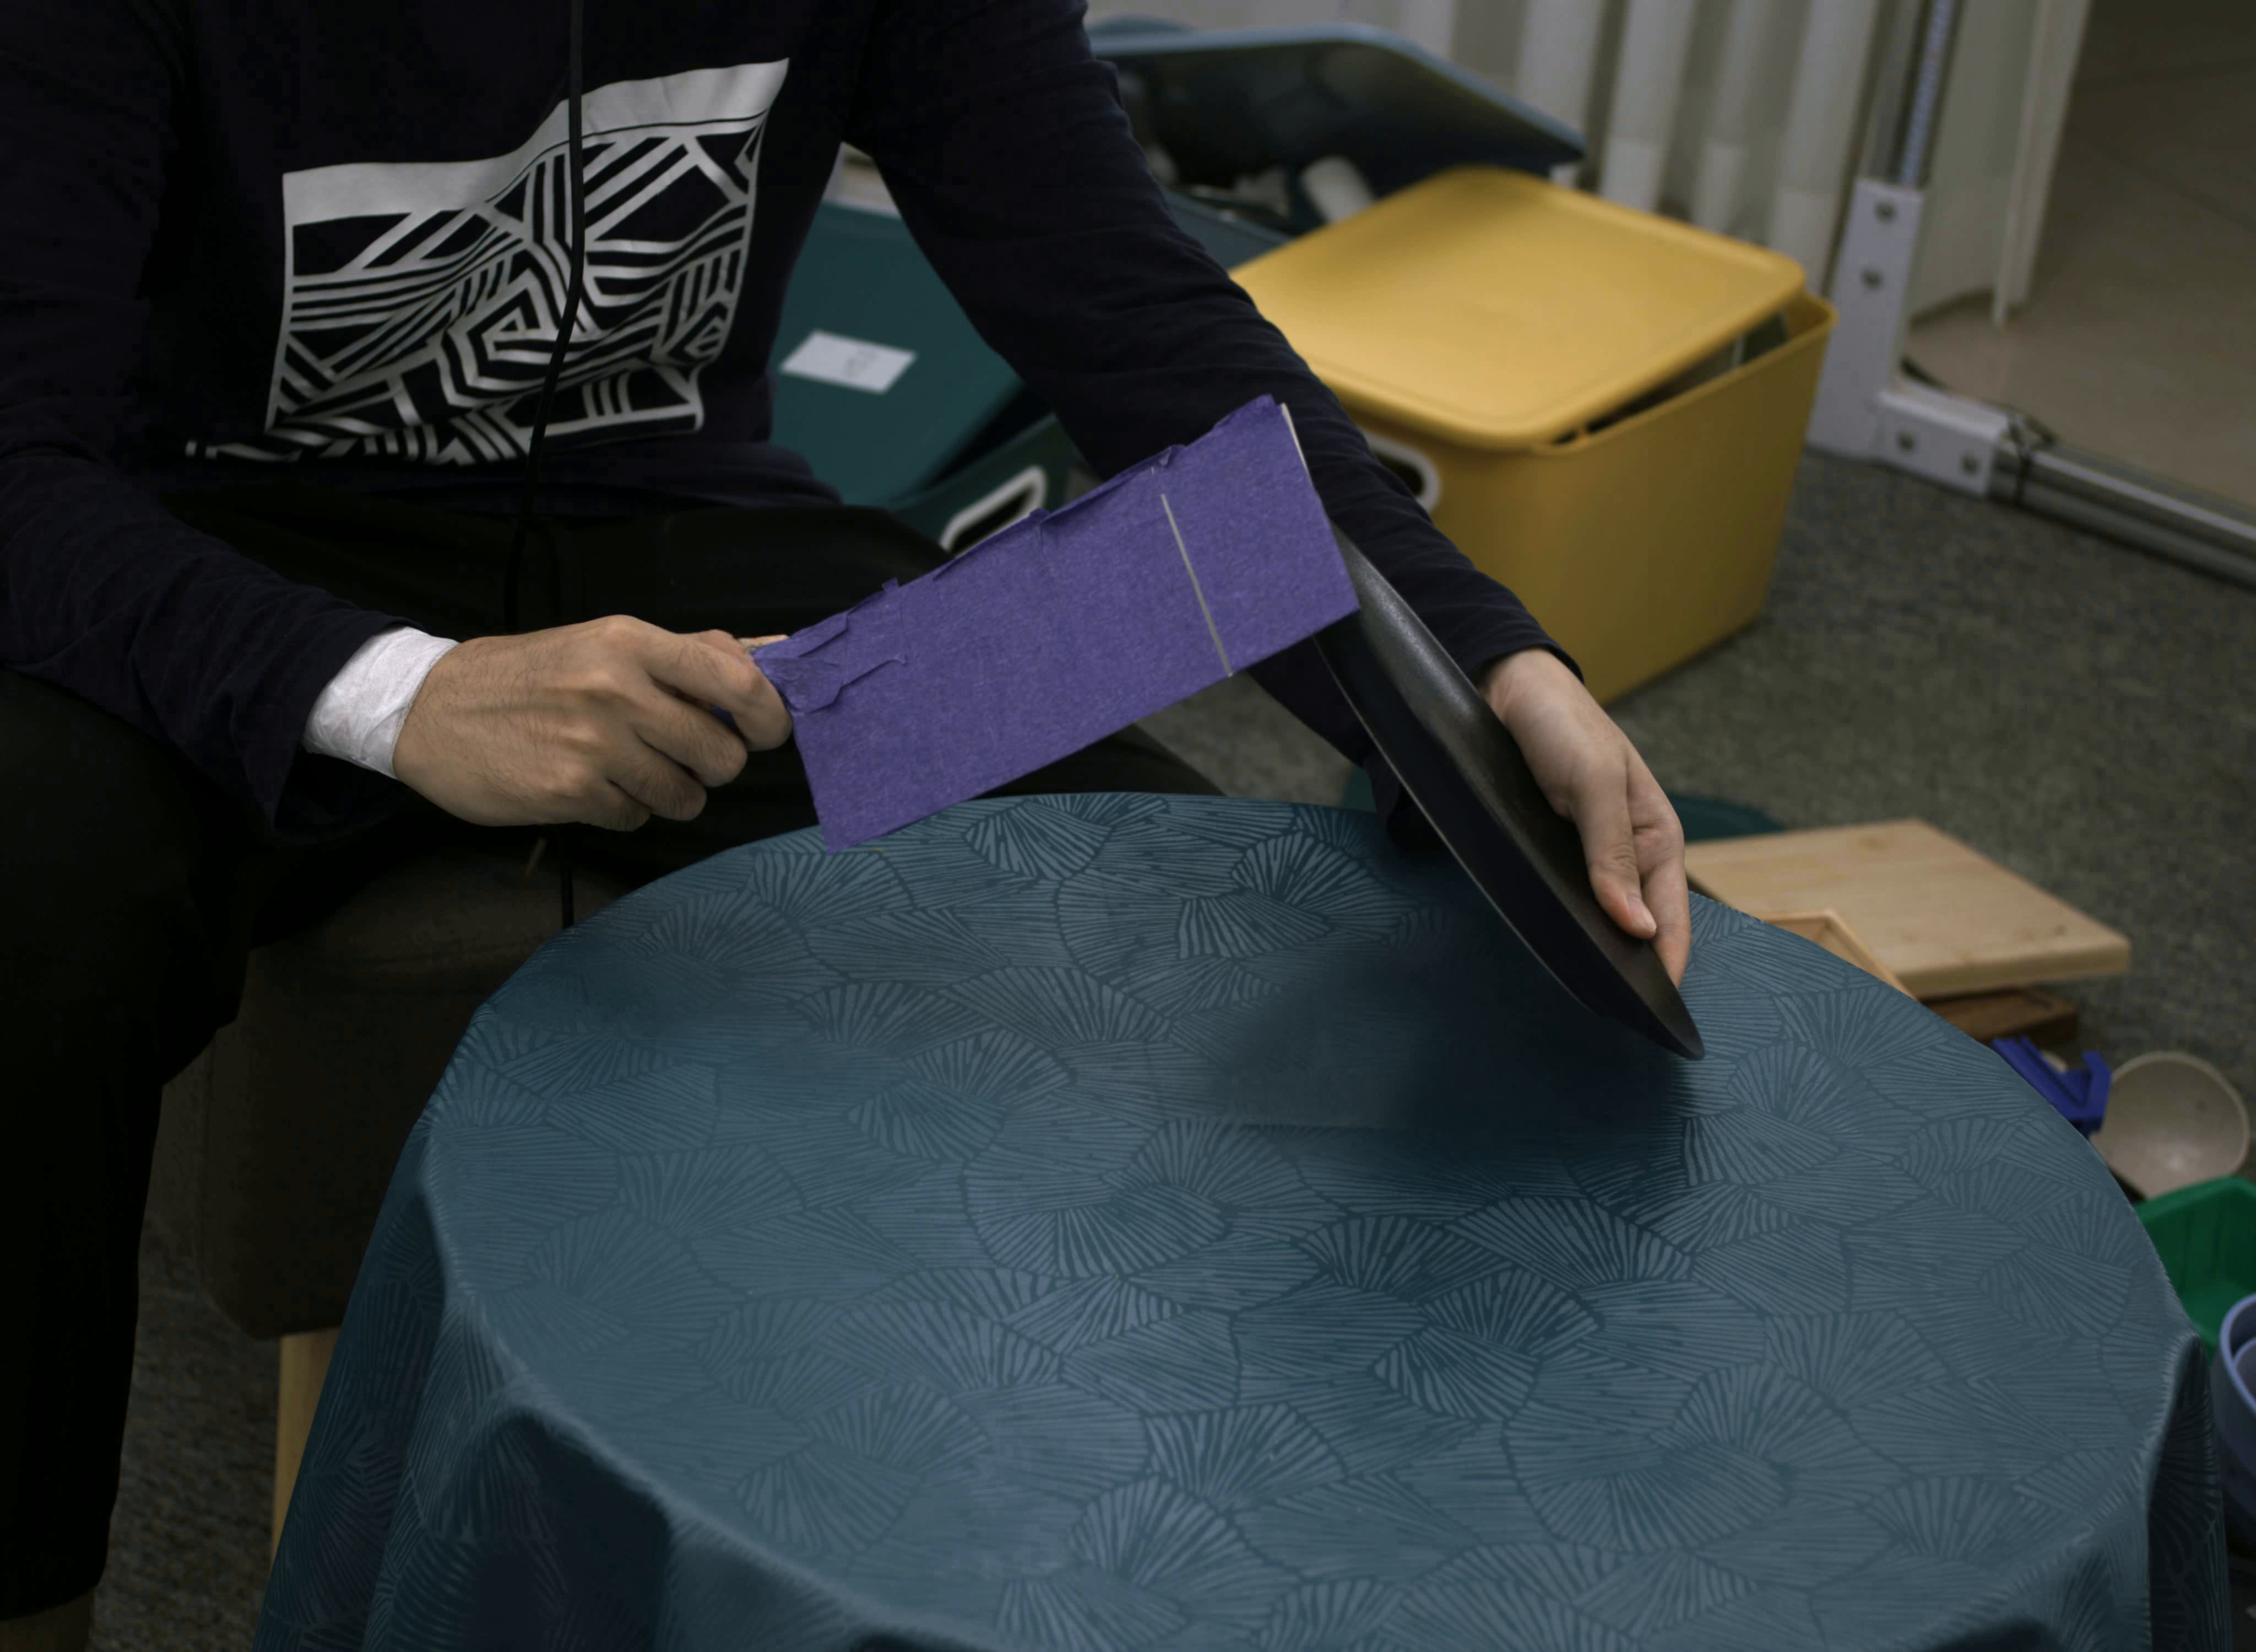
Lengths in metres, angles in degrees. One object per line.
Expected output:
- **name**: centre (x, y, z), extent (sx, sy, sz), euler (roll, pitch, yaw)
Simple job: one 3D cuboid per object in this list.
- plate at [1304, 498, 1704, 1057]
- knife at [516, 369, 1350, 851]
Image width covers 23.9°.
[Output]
- **plate**: centre (0.124, -0.013, 1.887), extent (0.023, 0.242, 0.246), euler (-36, 28, 8)
- **knife**: centre (-0.071, -0.049, 1.851), extent (0.315, 0.032, 0.105), euler (-27, 59, 17)
